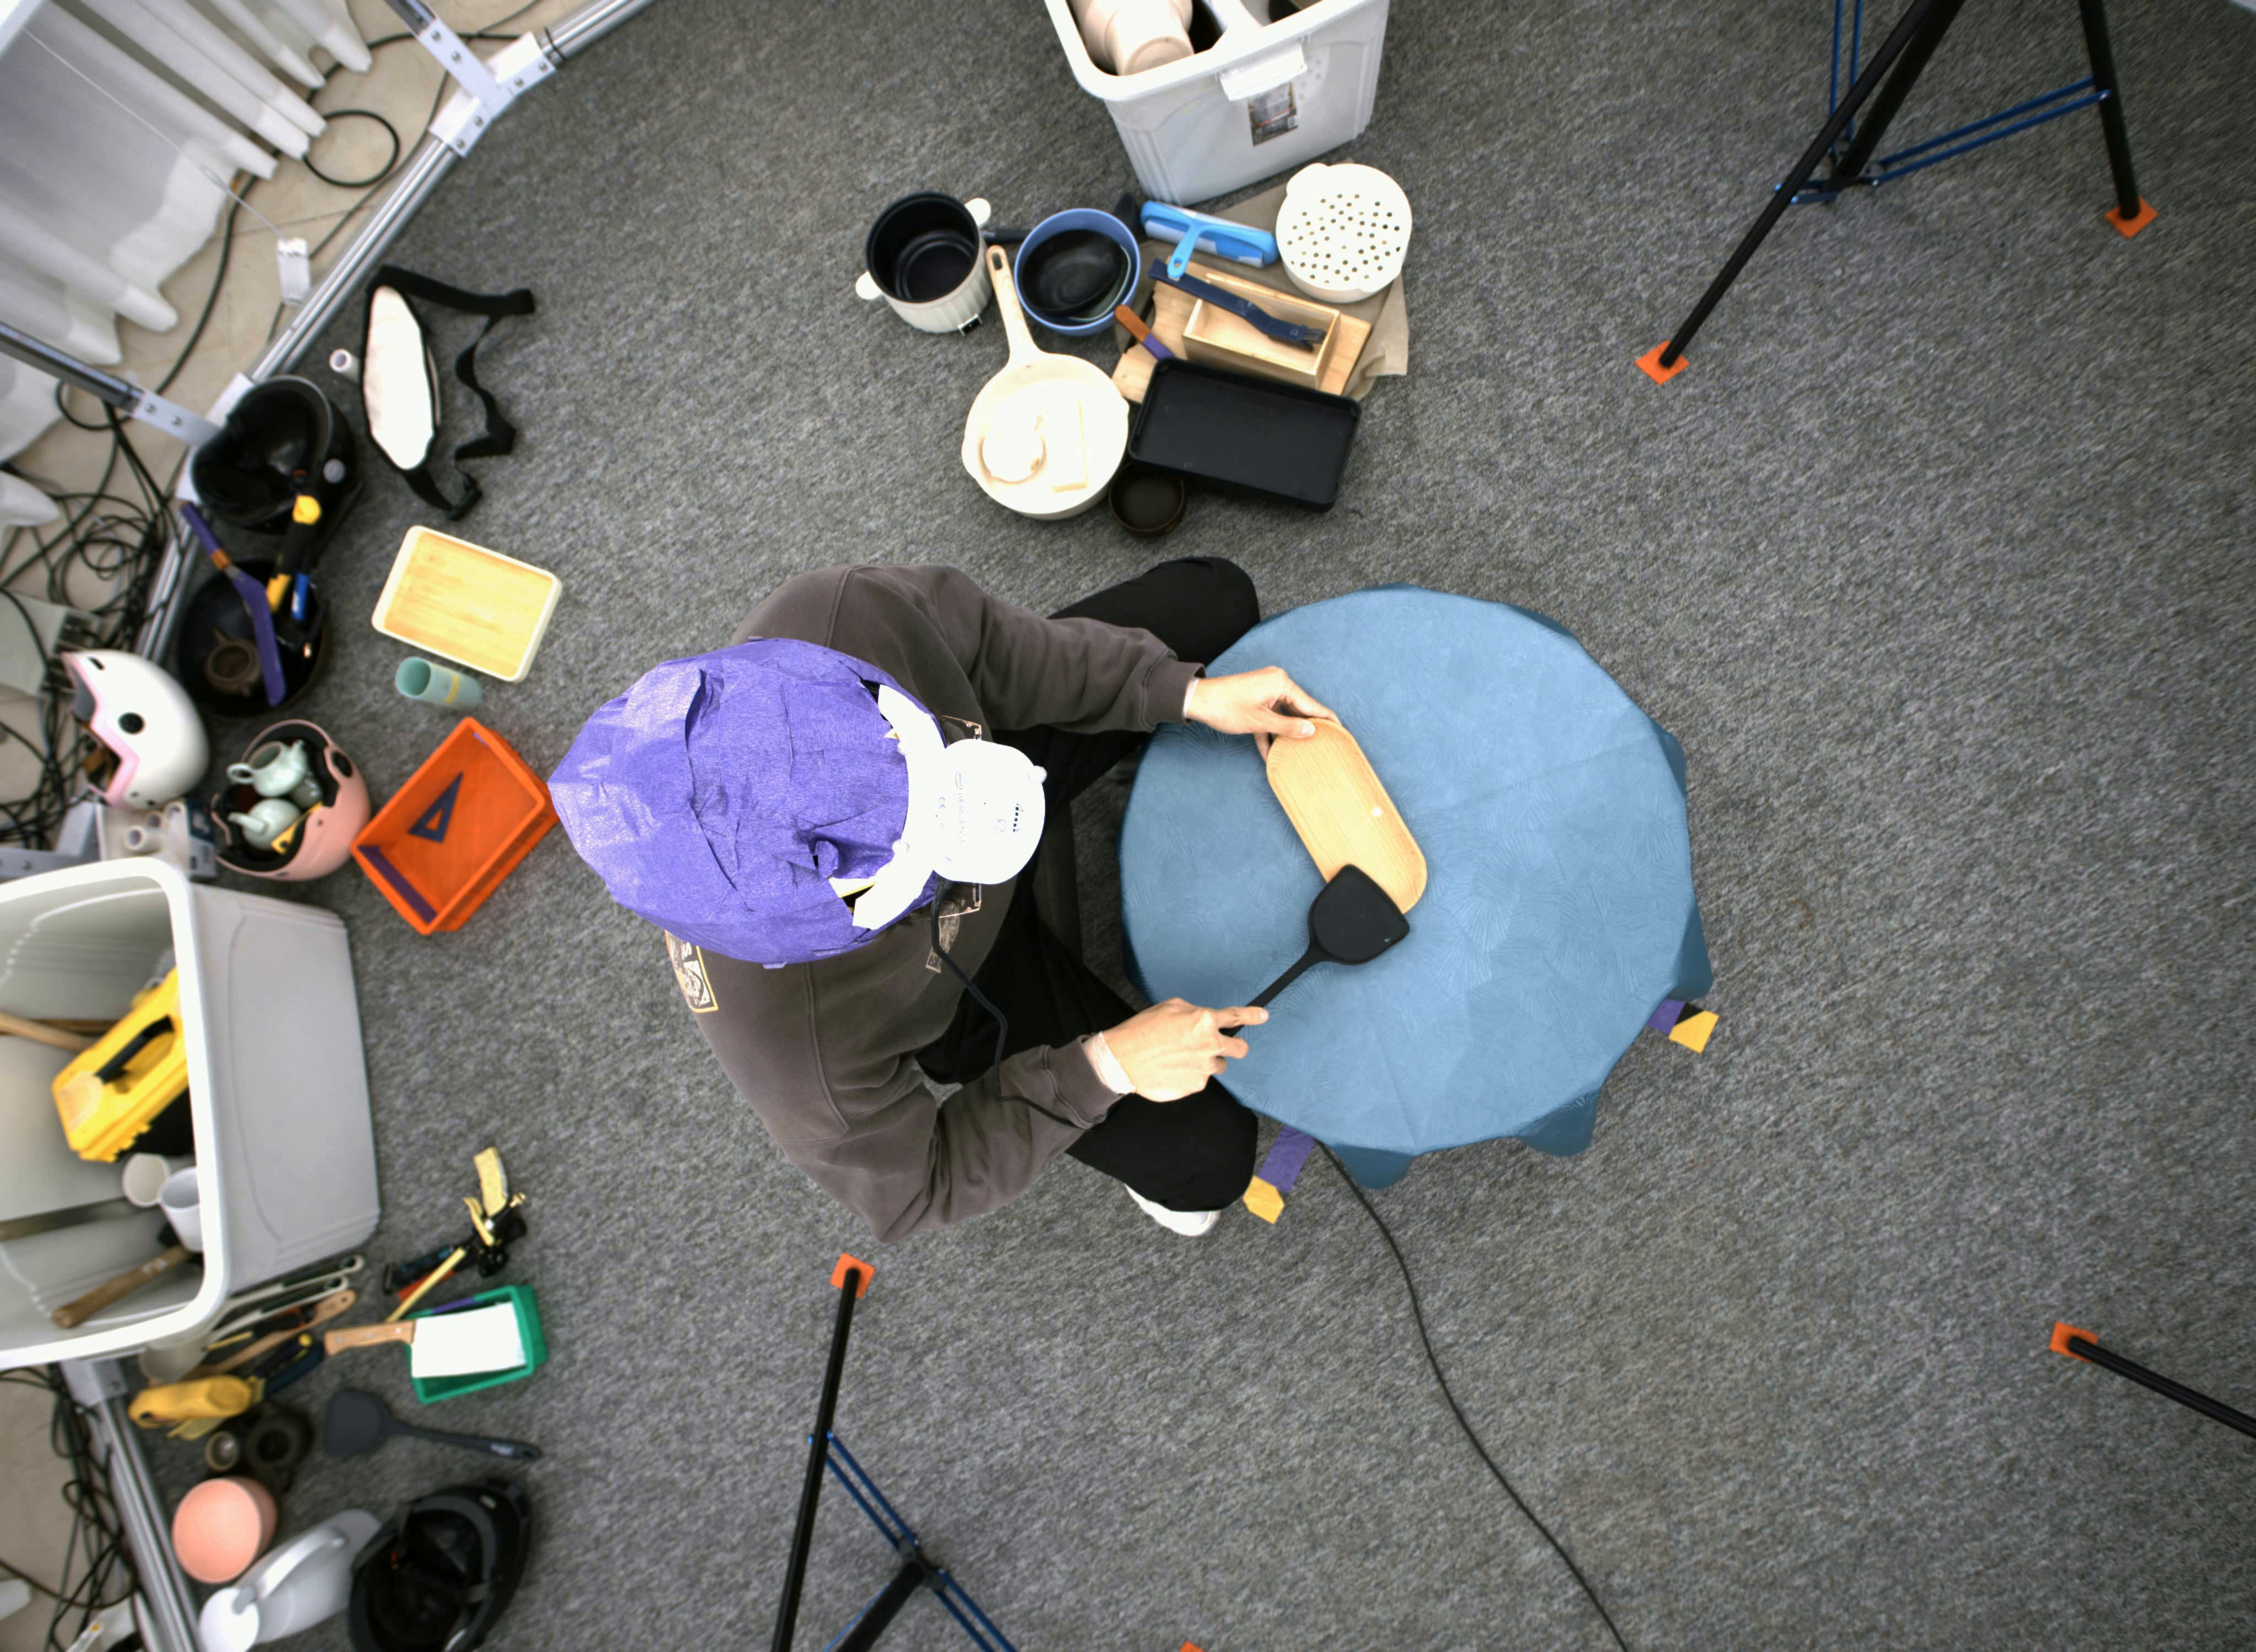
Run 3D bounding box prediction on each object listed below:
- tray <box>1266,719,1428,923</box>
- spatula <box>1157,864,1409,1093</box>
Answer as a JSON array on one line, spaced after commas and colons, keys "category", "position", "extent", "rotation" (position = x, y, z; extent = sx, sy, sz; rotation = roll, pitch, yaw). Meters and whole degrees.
[{"category": "tray", "position": [0.229, -0.007, 1.449], "extent": [0.102, 0.020, 0.231], "rotation": [-31, 90, 12]}, {"category": "spatula", "position": [0.148, 0.161, 1.389], "extent": [0.320, 0.041, 0.099], "rotation": [-37, 79, -27]}]
